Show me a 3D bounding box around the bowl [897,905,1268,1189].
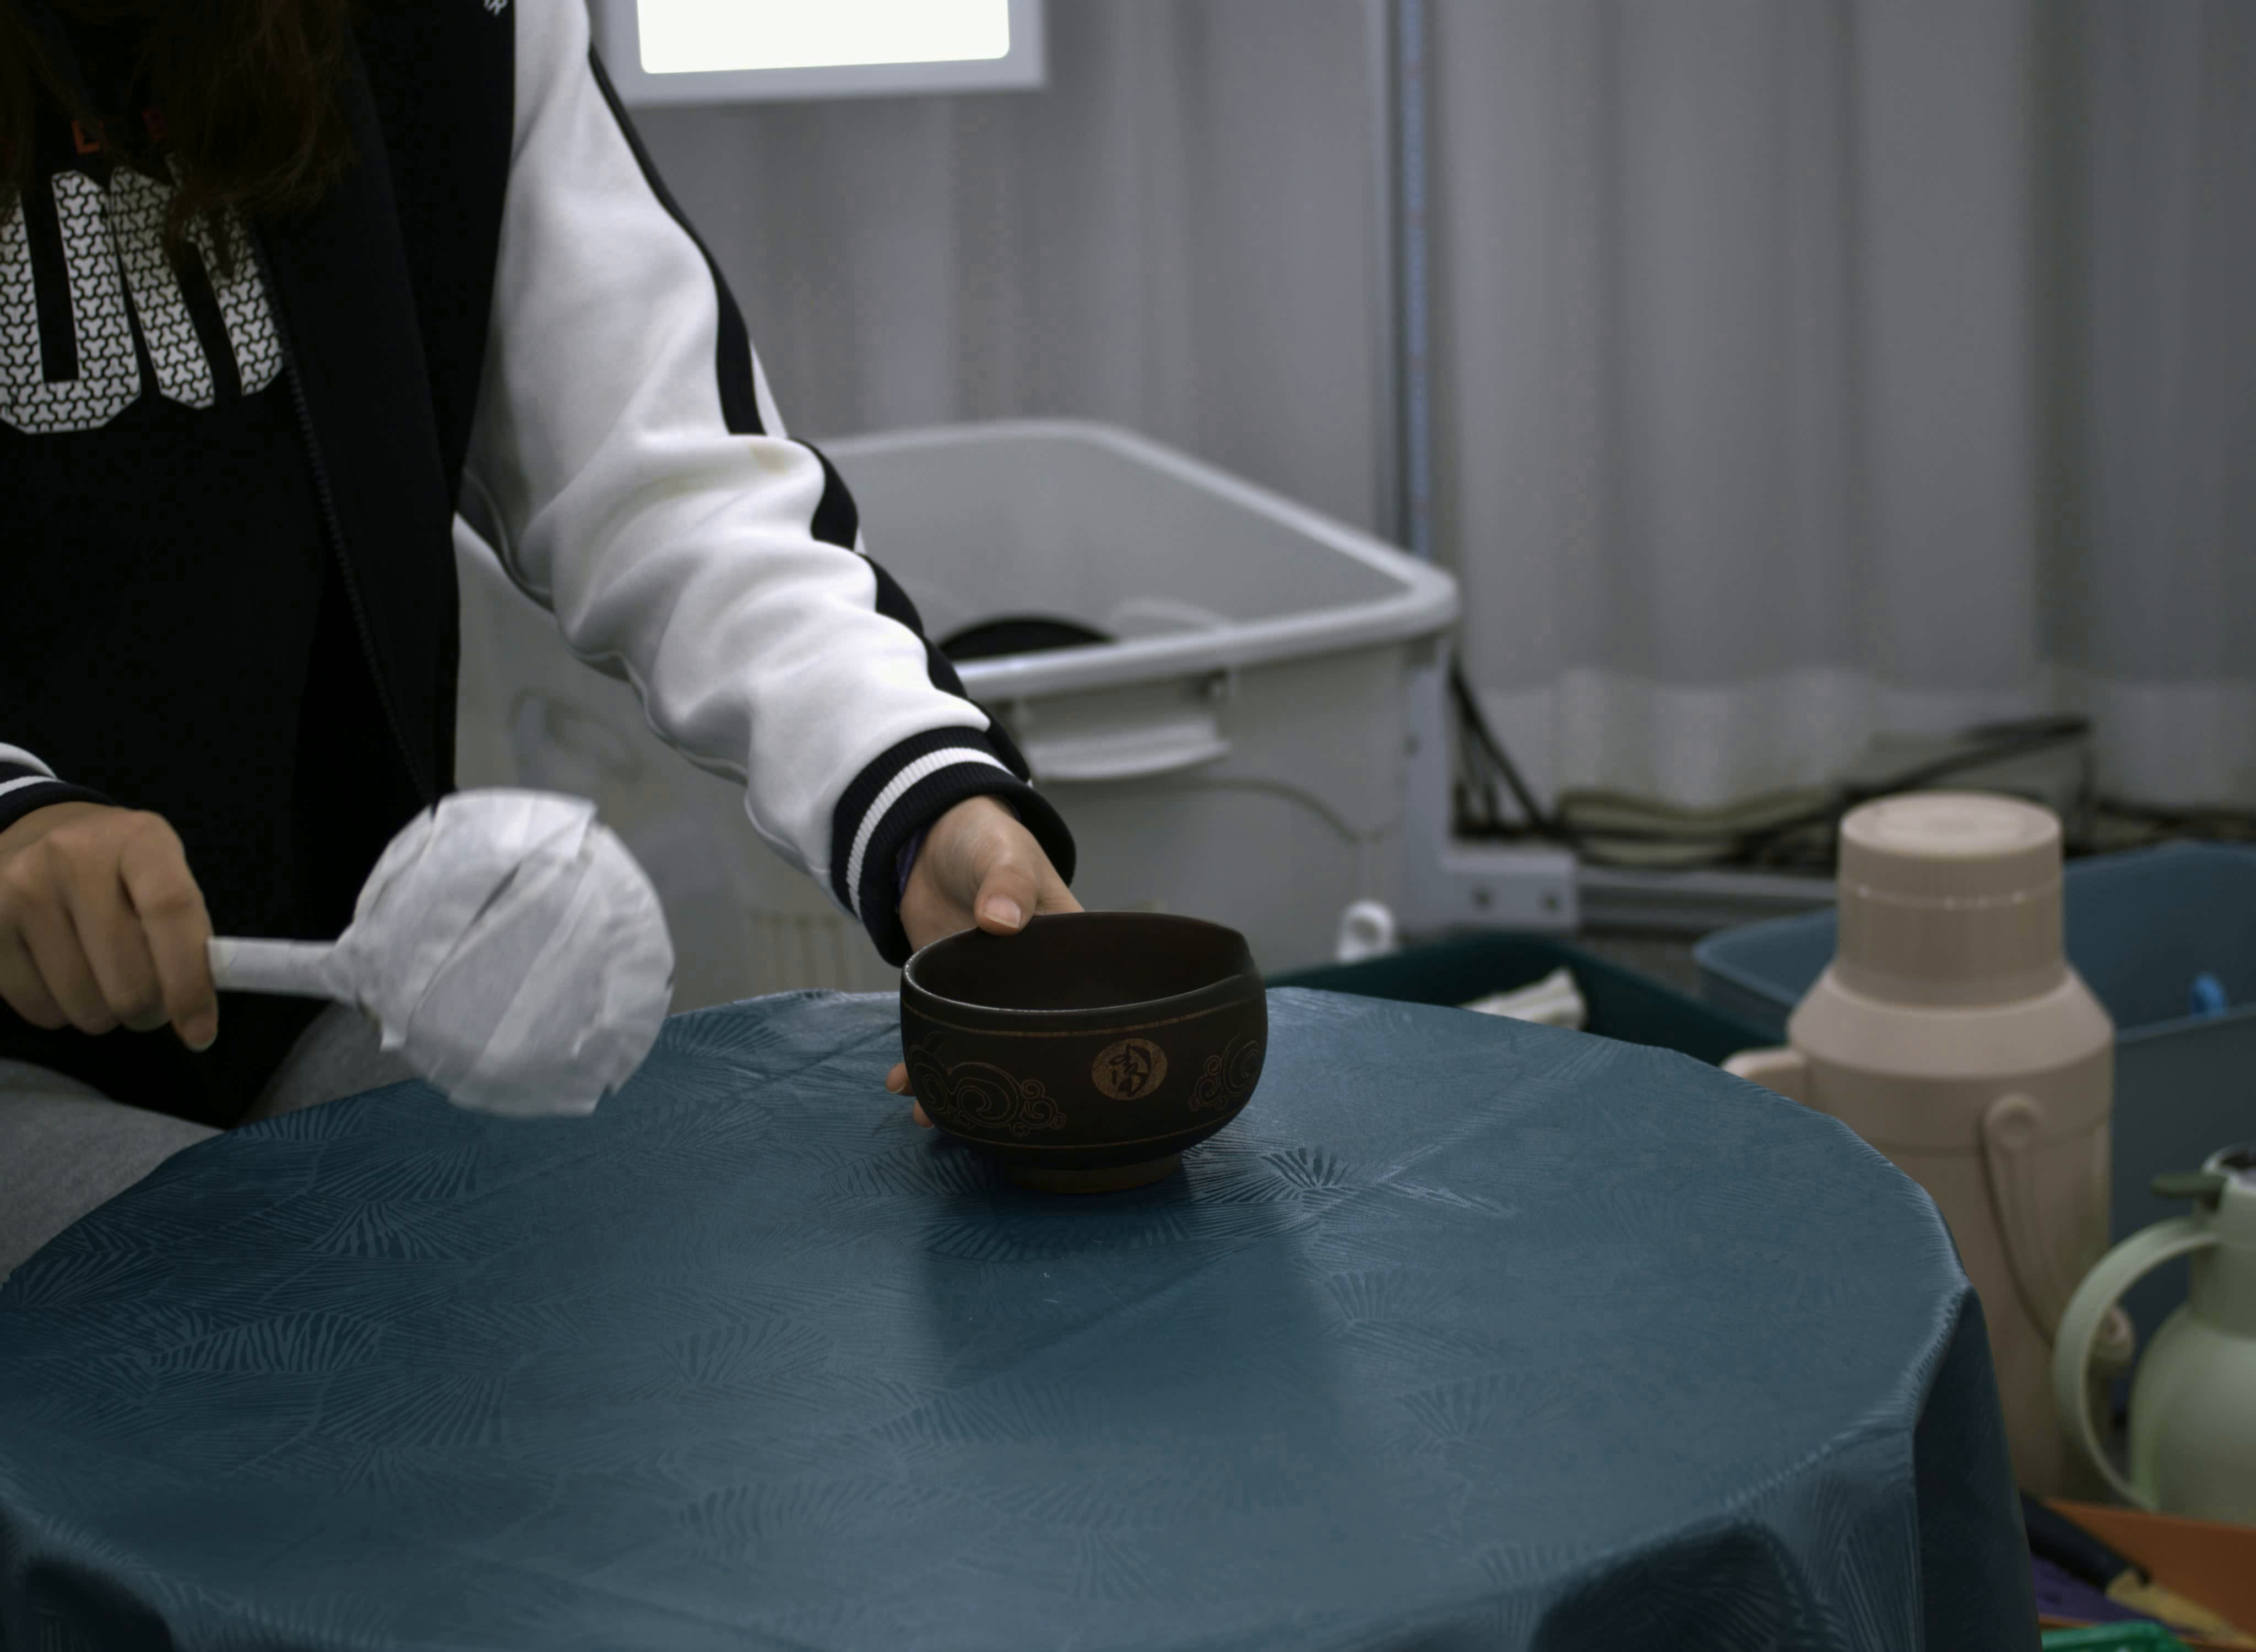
[{"bbox_3d":[-0.014,0.074,1.731,0.117,0.069,0.119,-3,14,0],"label":"bowl"}]

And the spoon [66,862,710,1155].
[{"bbox_3d":[-0.223,0.048,1.615,0.059,0.100,0.278,-37,25,-30],"label":"spoon"}]
